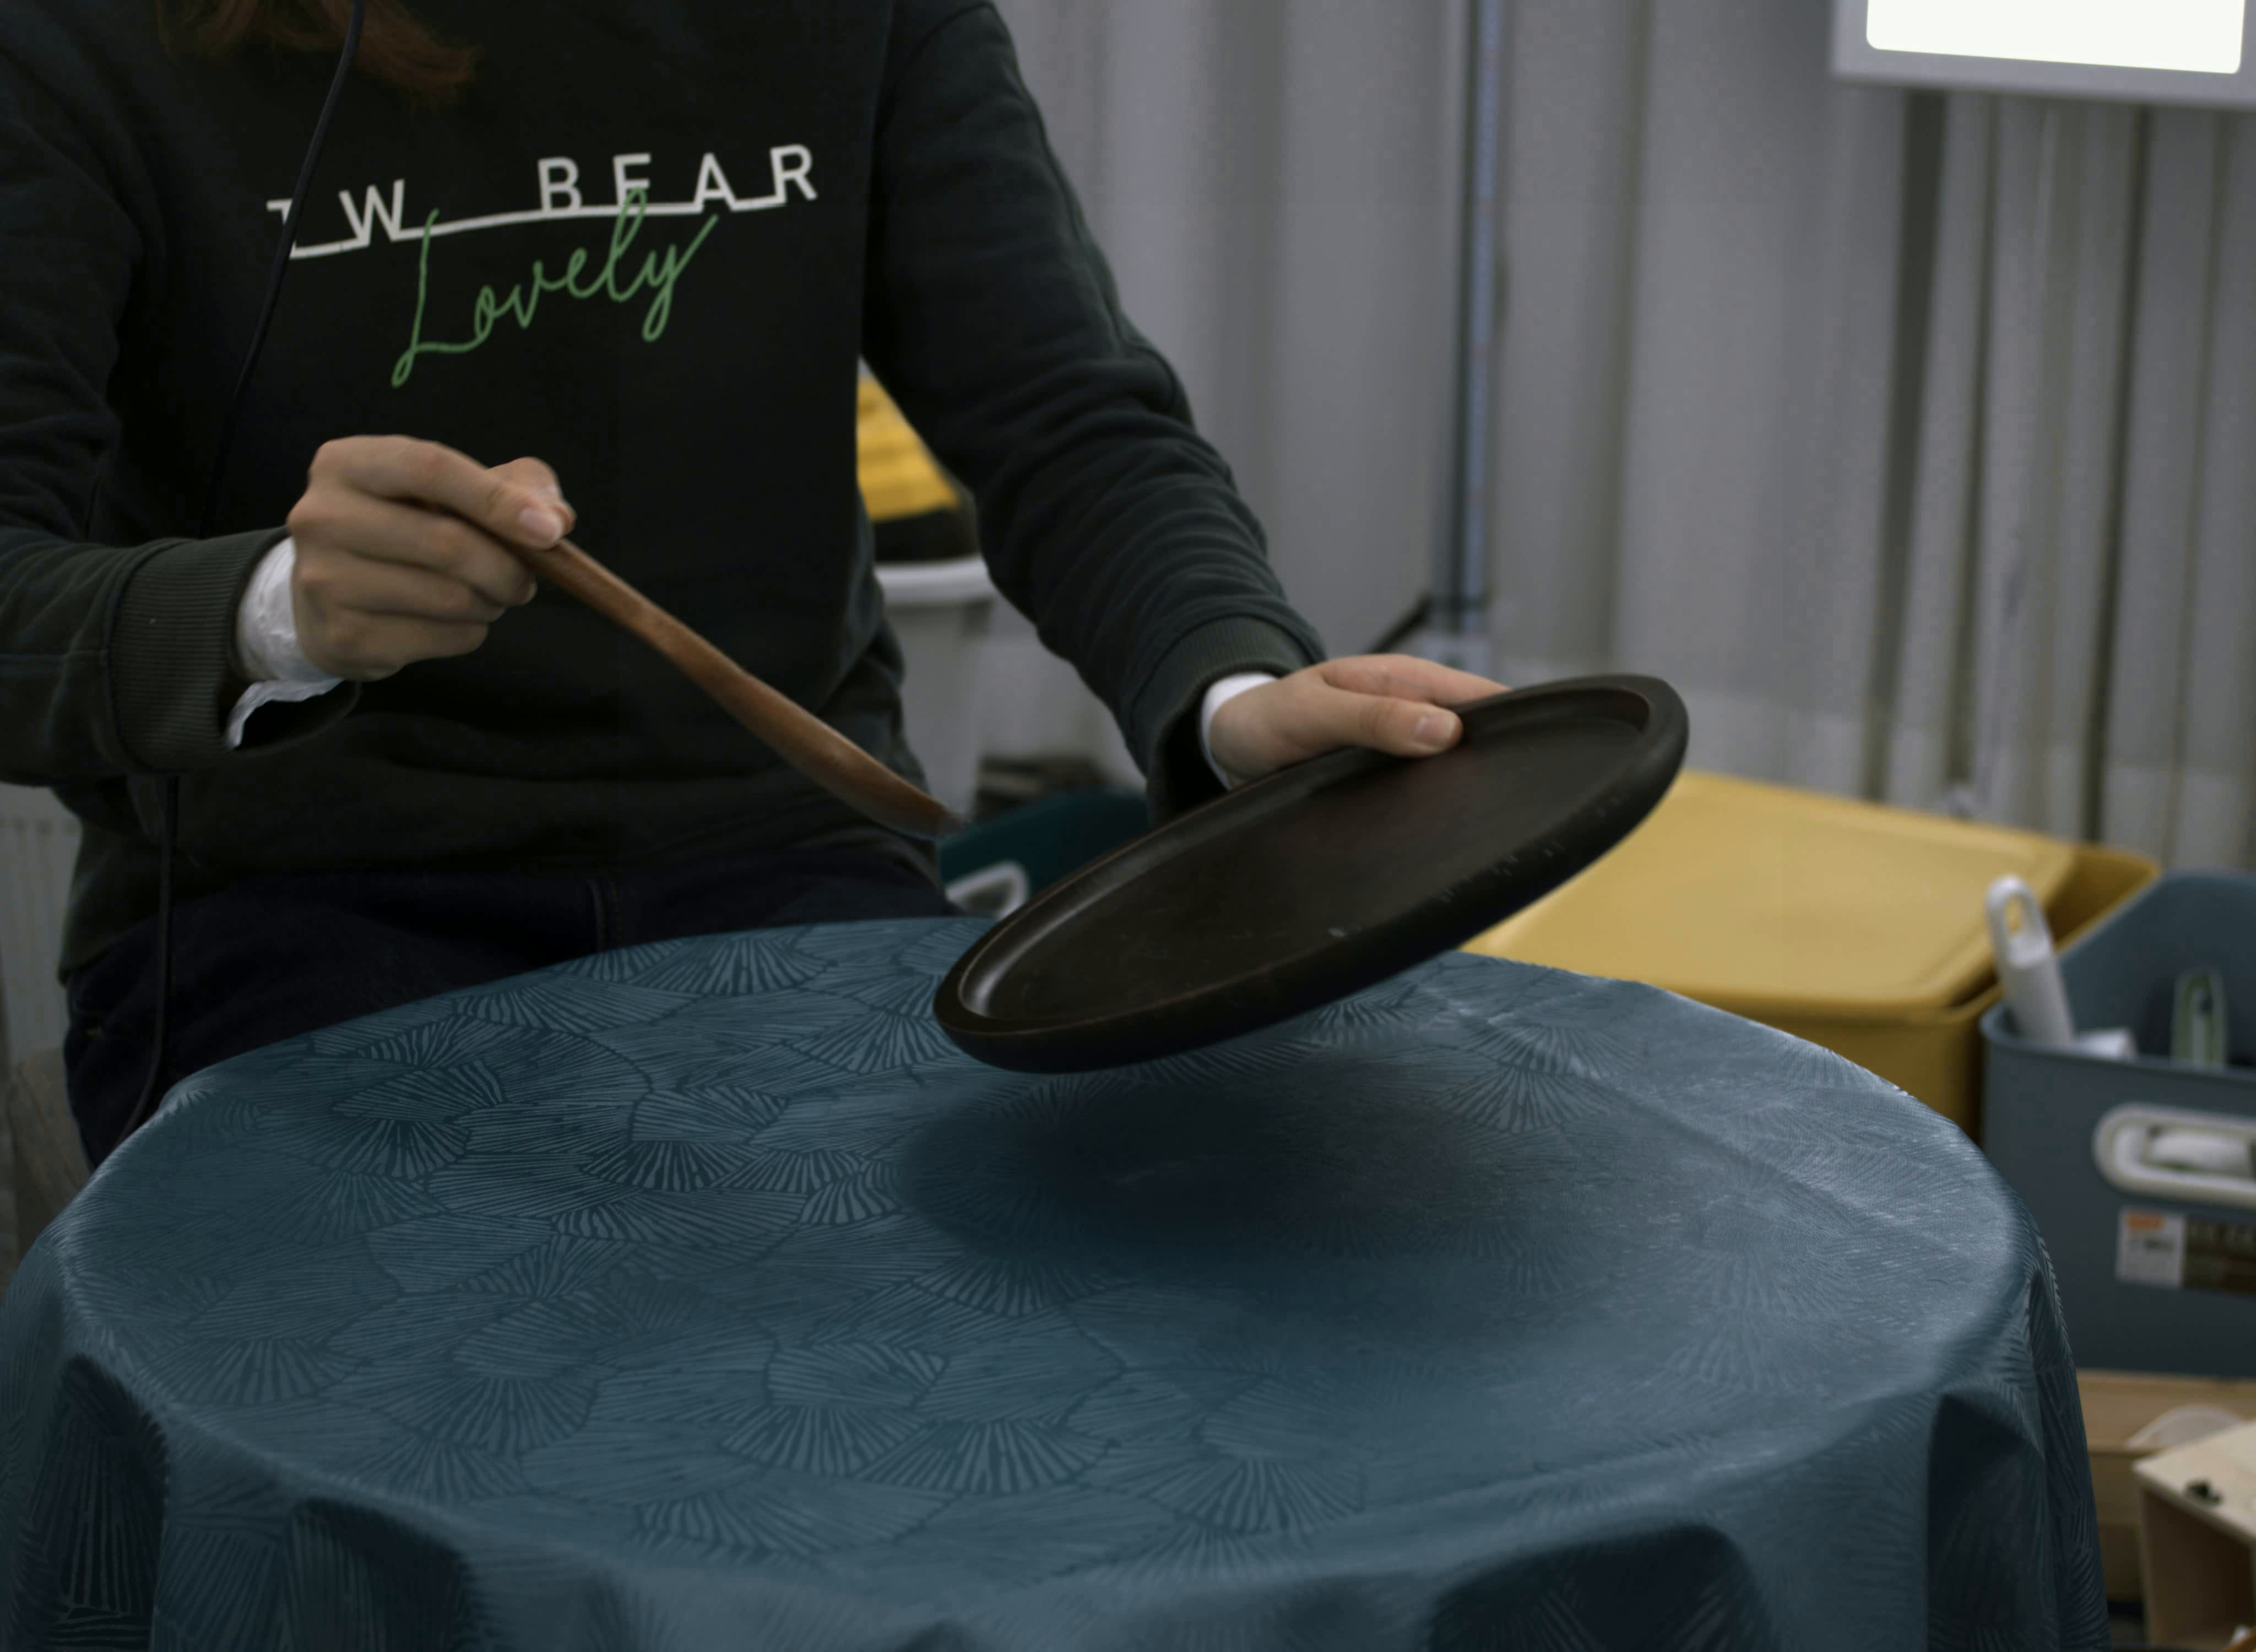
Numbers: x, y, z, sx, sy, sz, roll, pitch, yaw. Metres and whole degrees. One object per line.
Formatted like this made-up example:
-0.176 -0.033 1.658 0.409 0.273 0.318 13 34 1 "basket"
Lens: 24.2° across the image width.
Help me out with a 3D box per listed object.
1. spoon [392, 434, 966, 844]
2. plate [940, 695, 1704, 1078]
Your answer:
-0.138 -0.054 1.589 0.214 0.017 0.076 36 2 13 "spoon"
0.061 0.018 1.638 0.254 0.029 0.253 -20 13 6 "plate"
